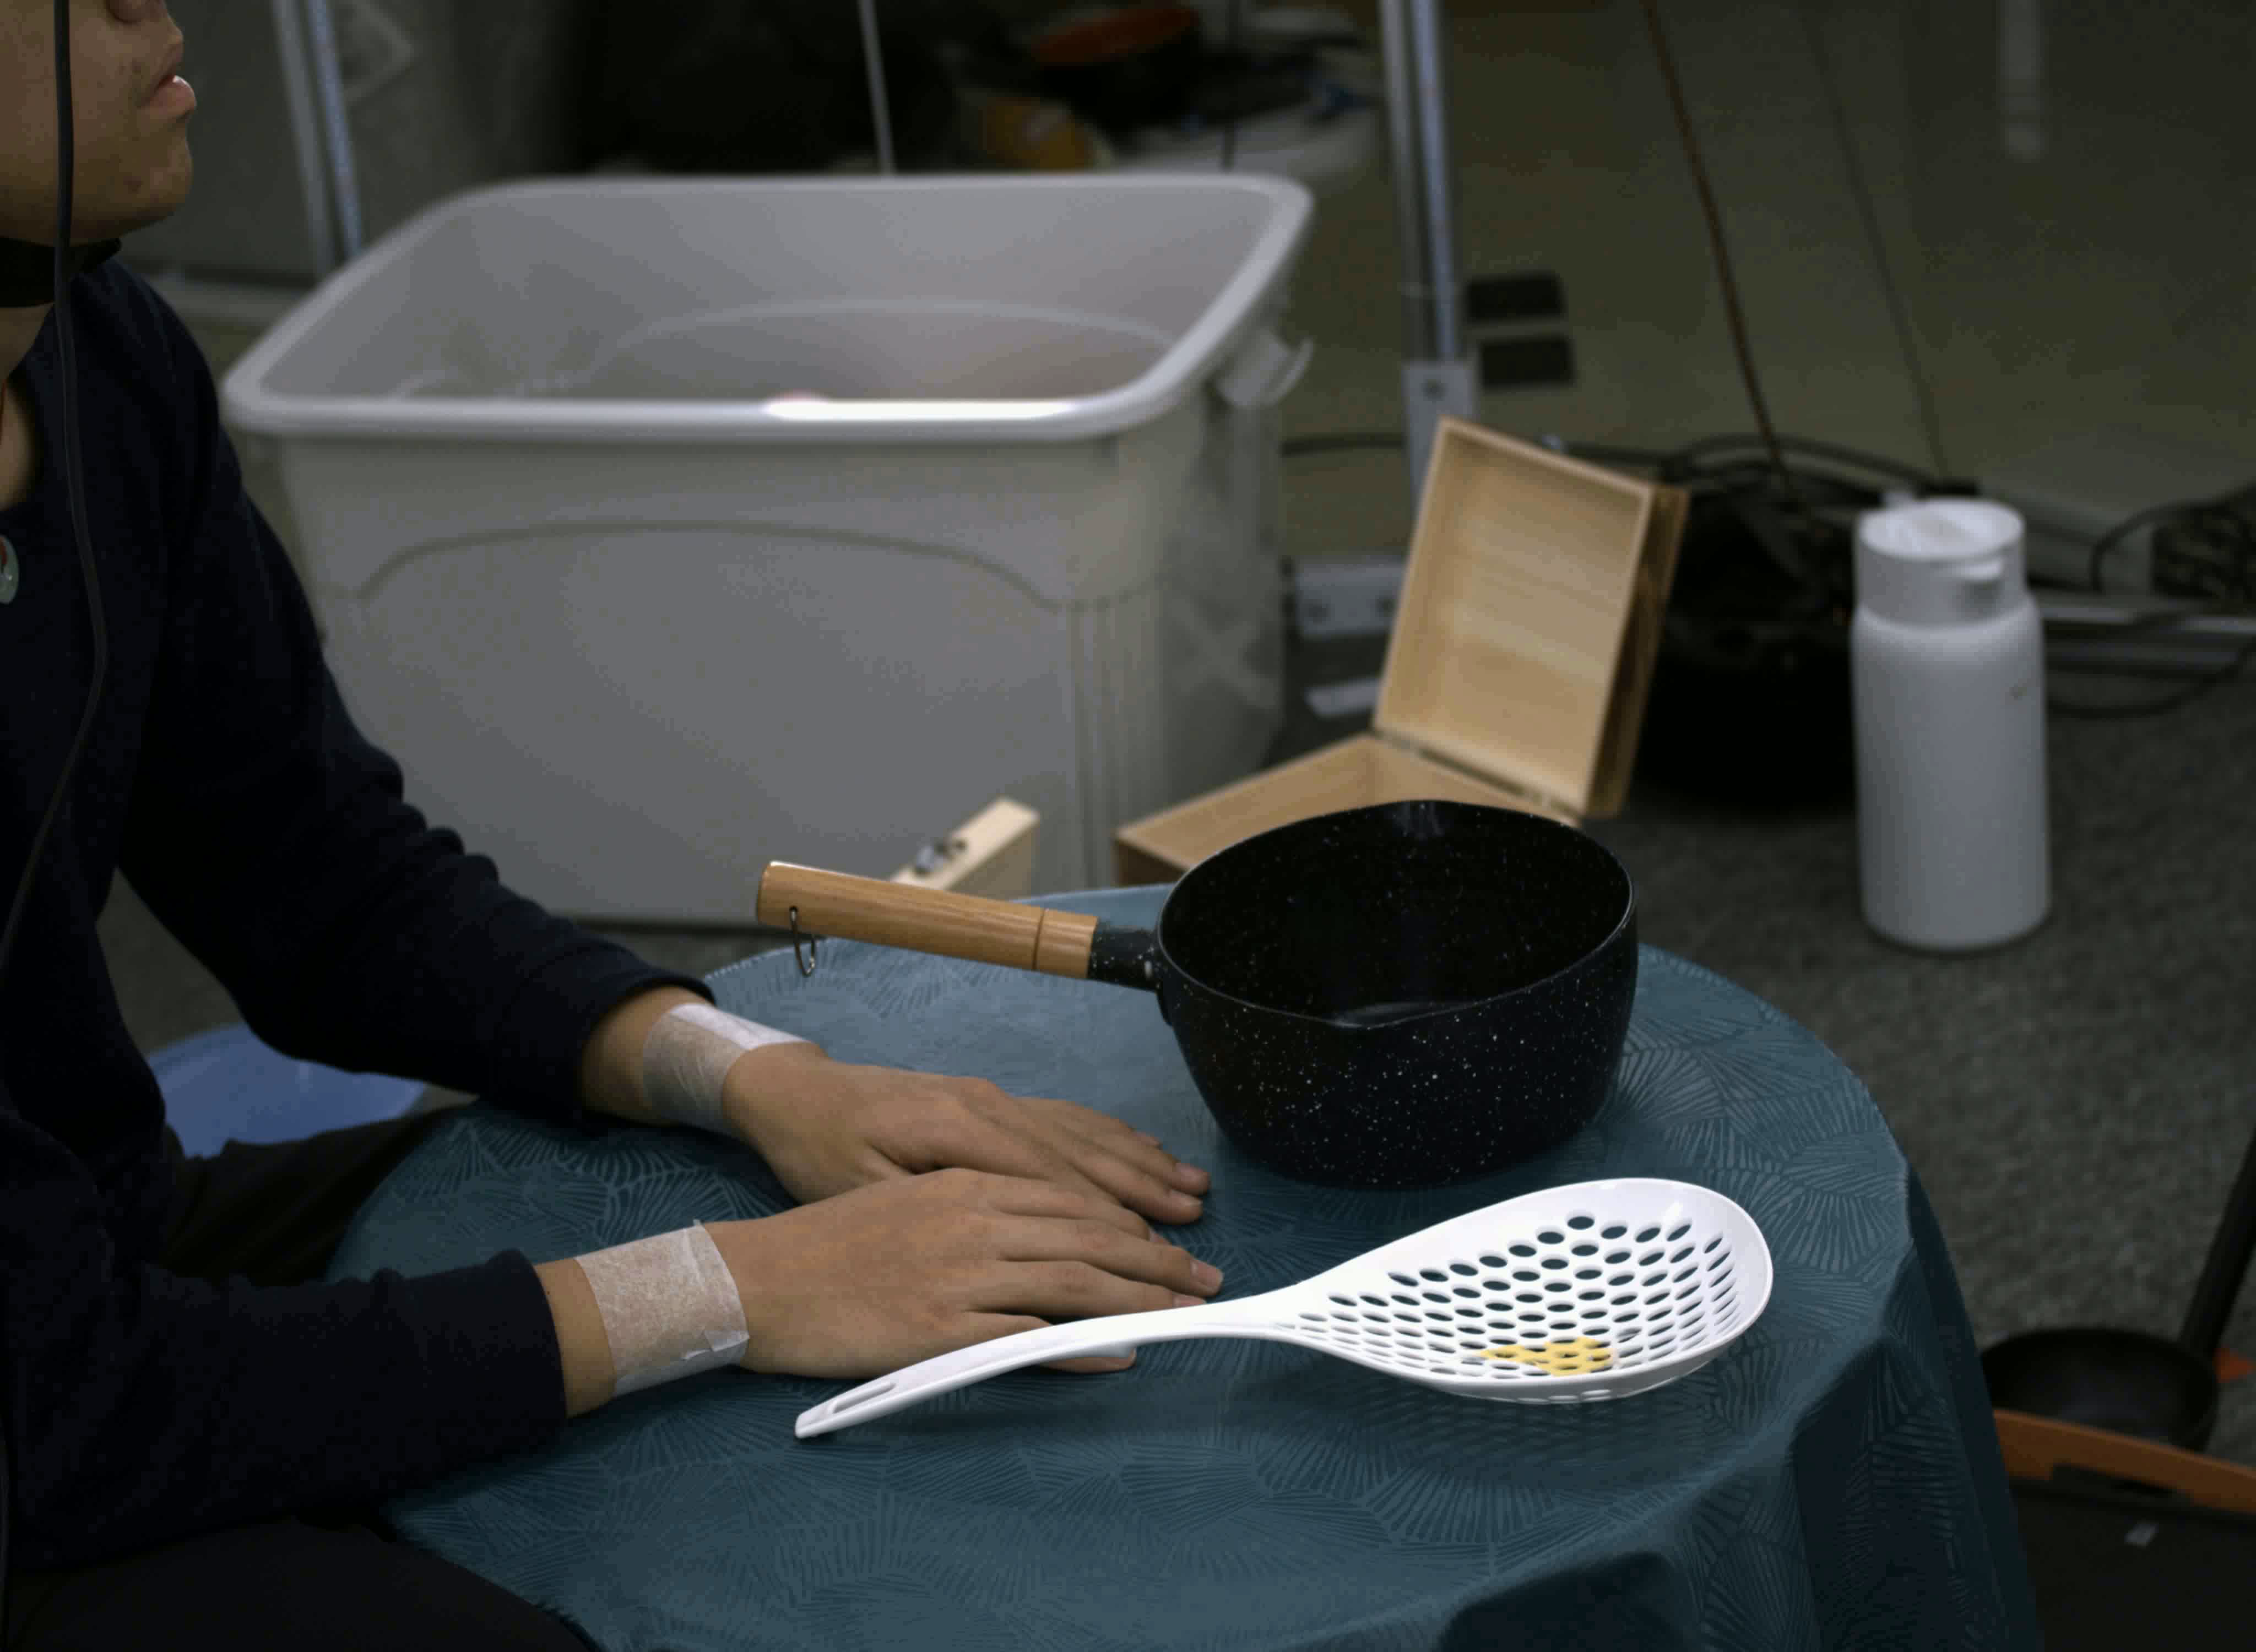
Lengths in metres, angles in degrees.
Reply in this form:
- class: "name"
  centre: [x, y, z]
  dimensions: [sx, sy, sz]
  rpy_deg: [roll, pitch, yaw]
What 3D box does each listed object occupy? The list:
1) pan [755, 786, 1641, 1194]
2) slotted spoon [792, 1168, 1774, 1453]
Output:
- class: "pan"
  centre: [0.026, 0.060, 2.180]
  dimensions: [0.342, 0.110, 0.204]
  rpy_deg: [-1, 27, 9]
- class: "slotted spoon"
  centre: [0.053, 0.181, 1.992]
  dimensions: [0.347, 0.051, 0.135]
  rpy_deg: [-4, 27, 2]
